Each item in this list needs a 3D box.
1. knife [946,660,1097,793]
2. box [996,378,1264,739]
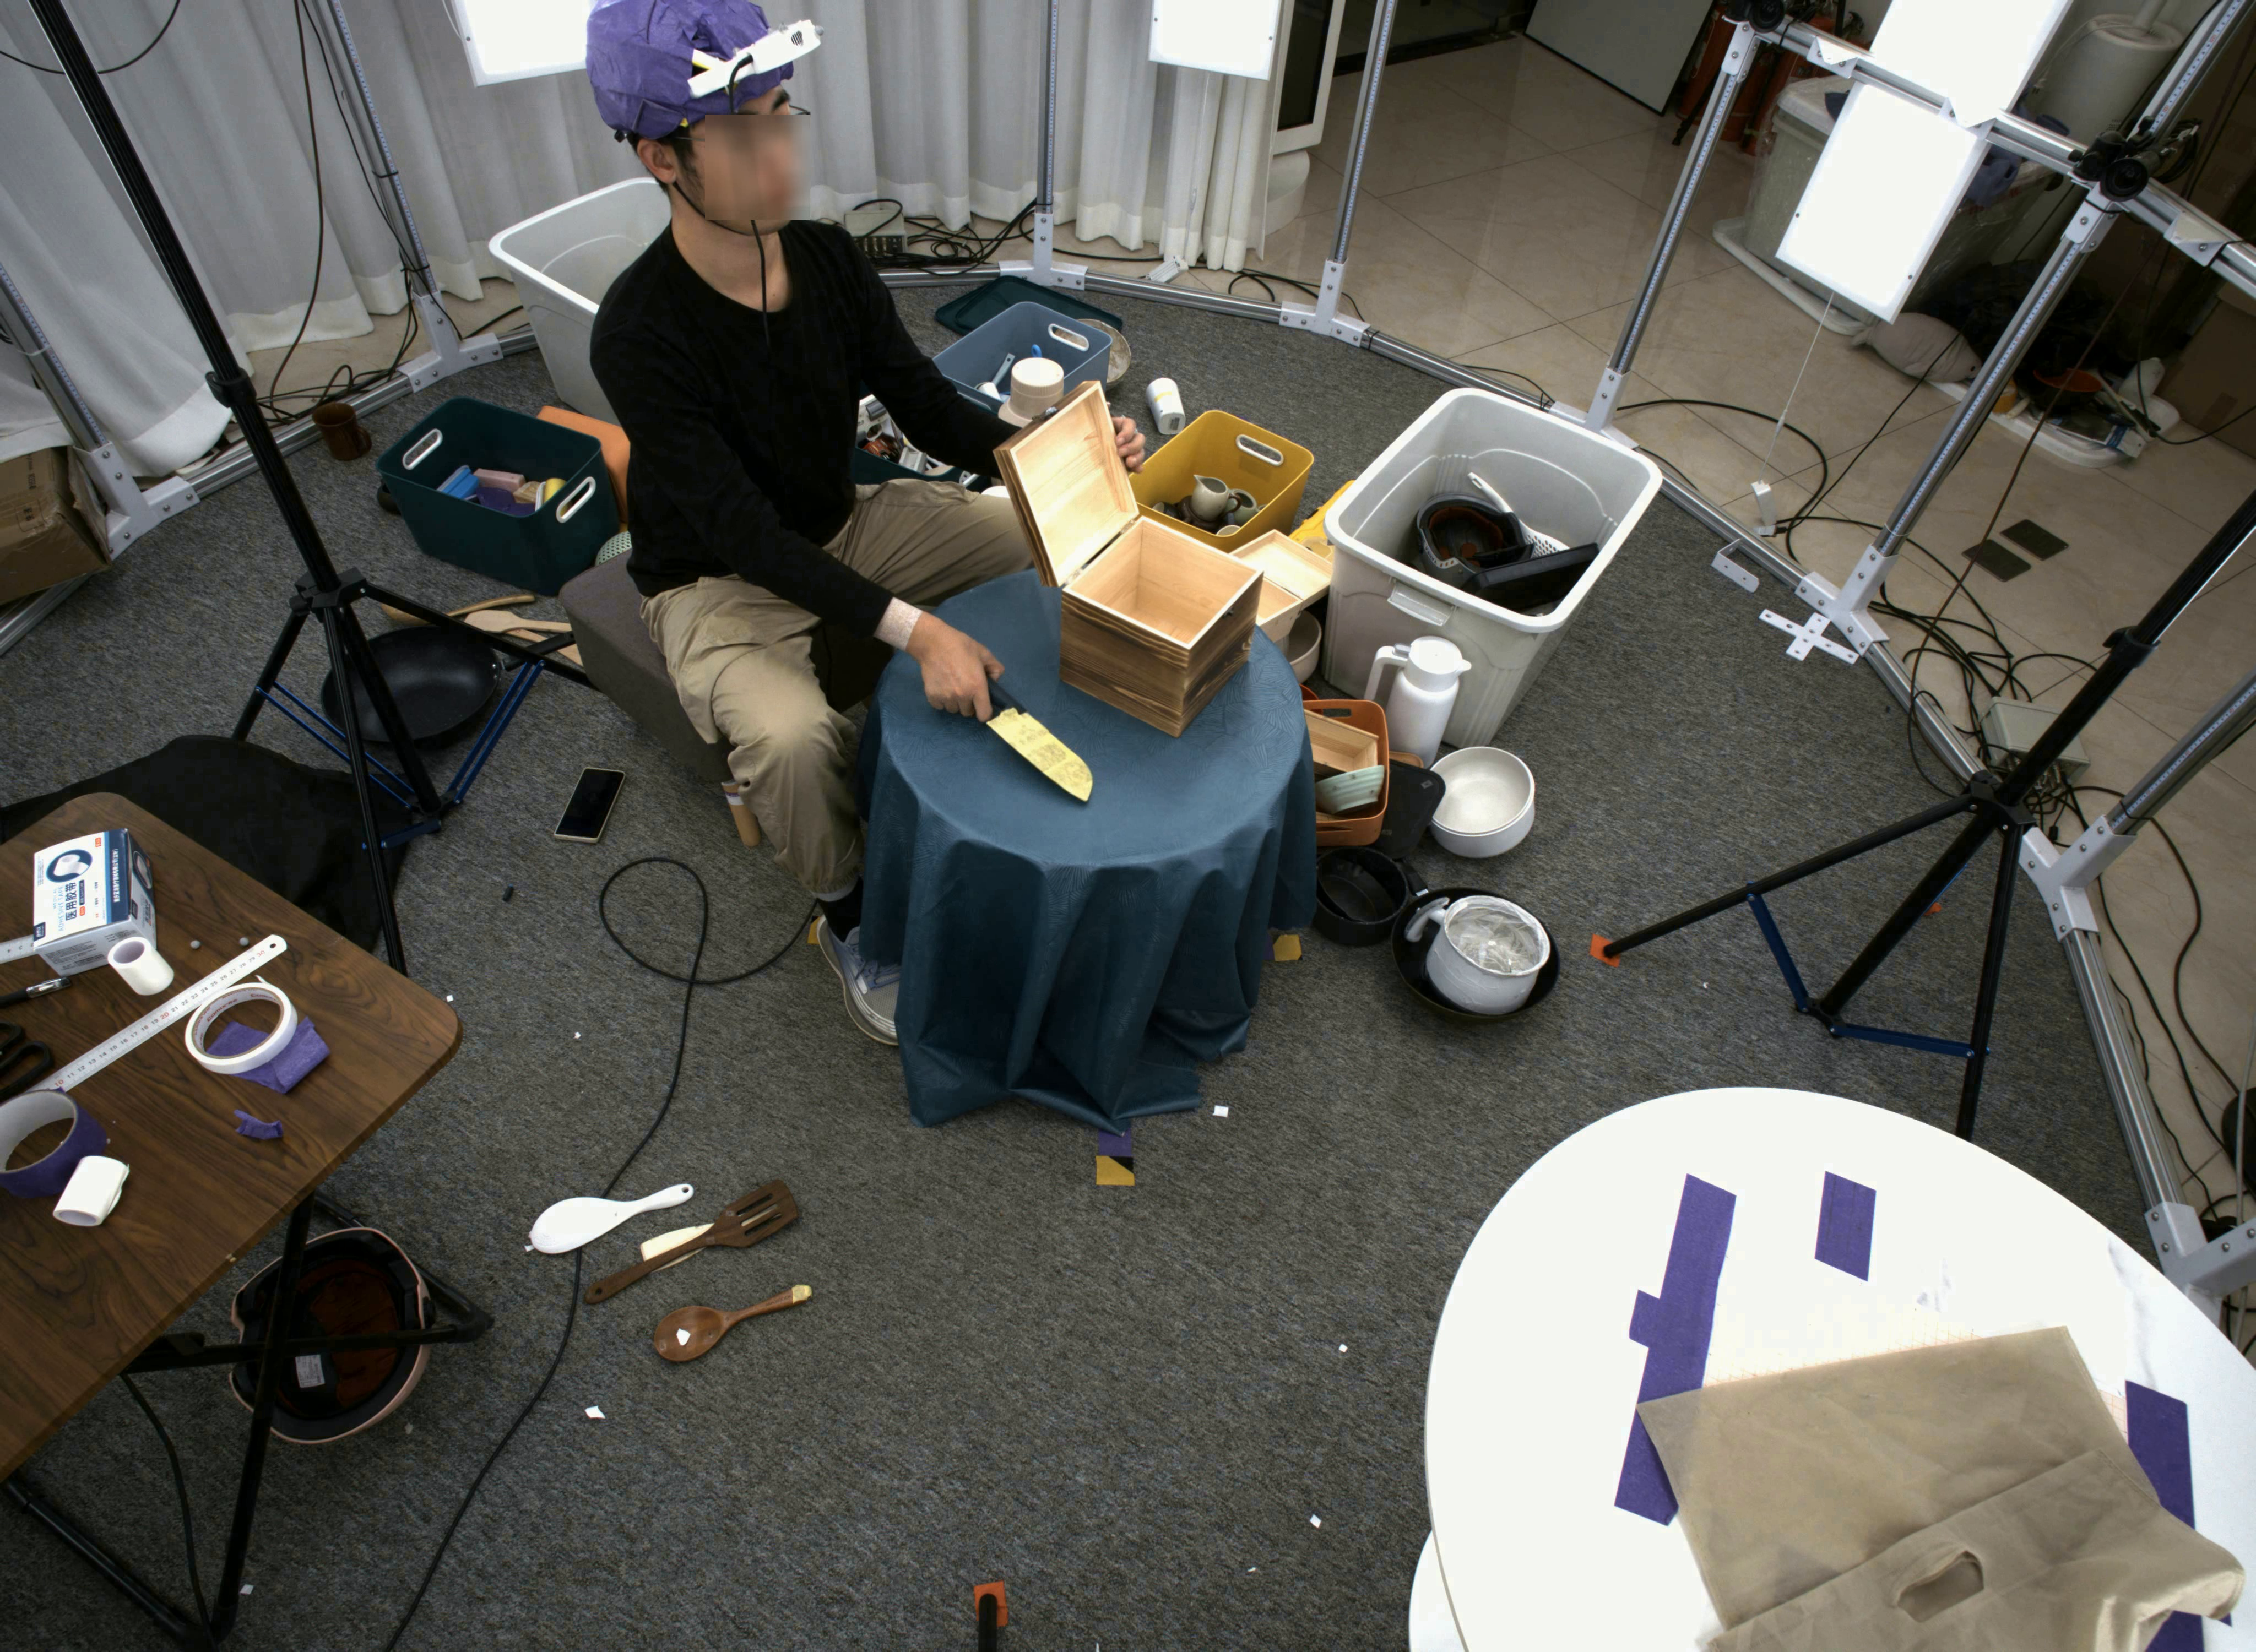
[{"bbox_3d":[-0.150,-0.134,1.743,0.293,0.027,0.081,40,37,19],"label":"knife"},{"bbox_3d":[0.006,-0.364,1.754,0.325,0.366,0.212,28,54,19],"label":"box"}]
